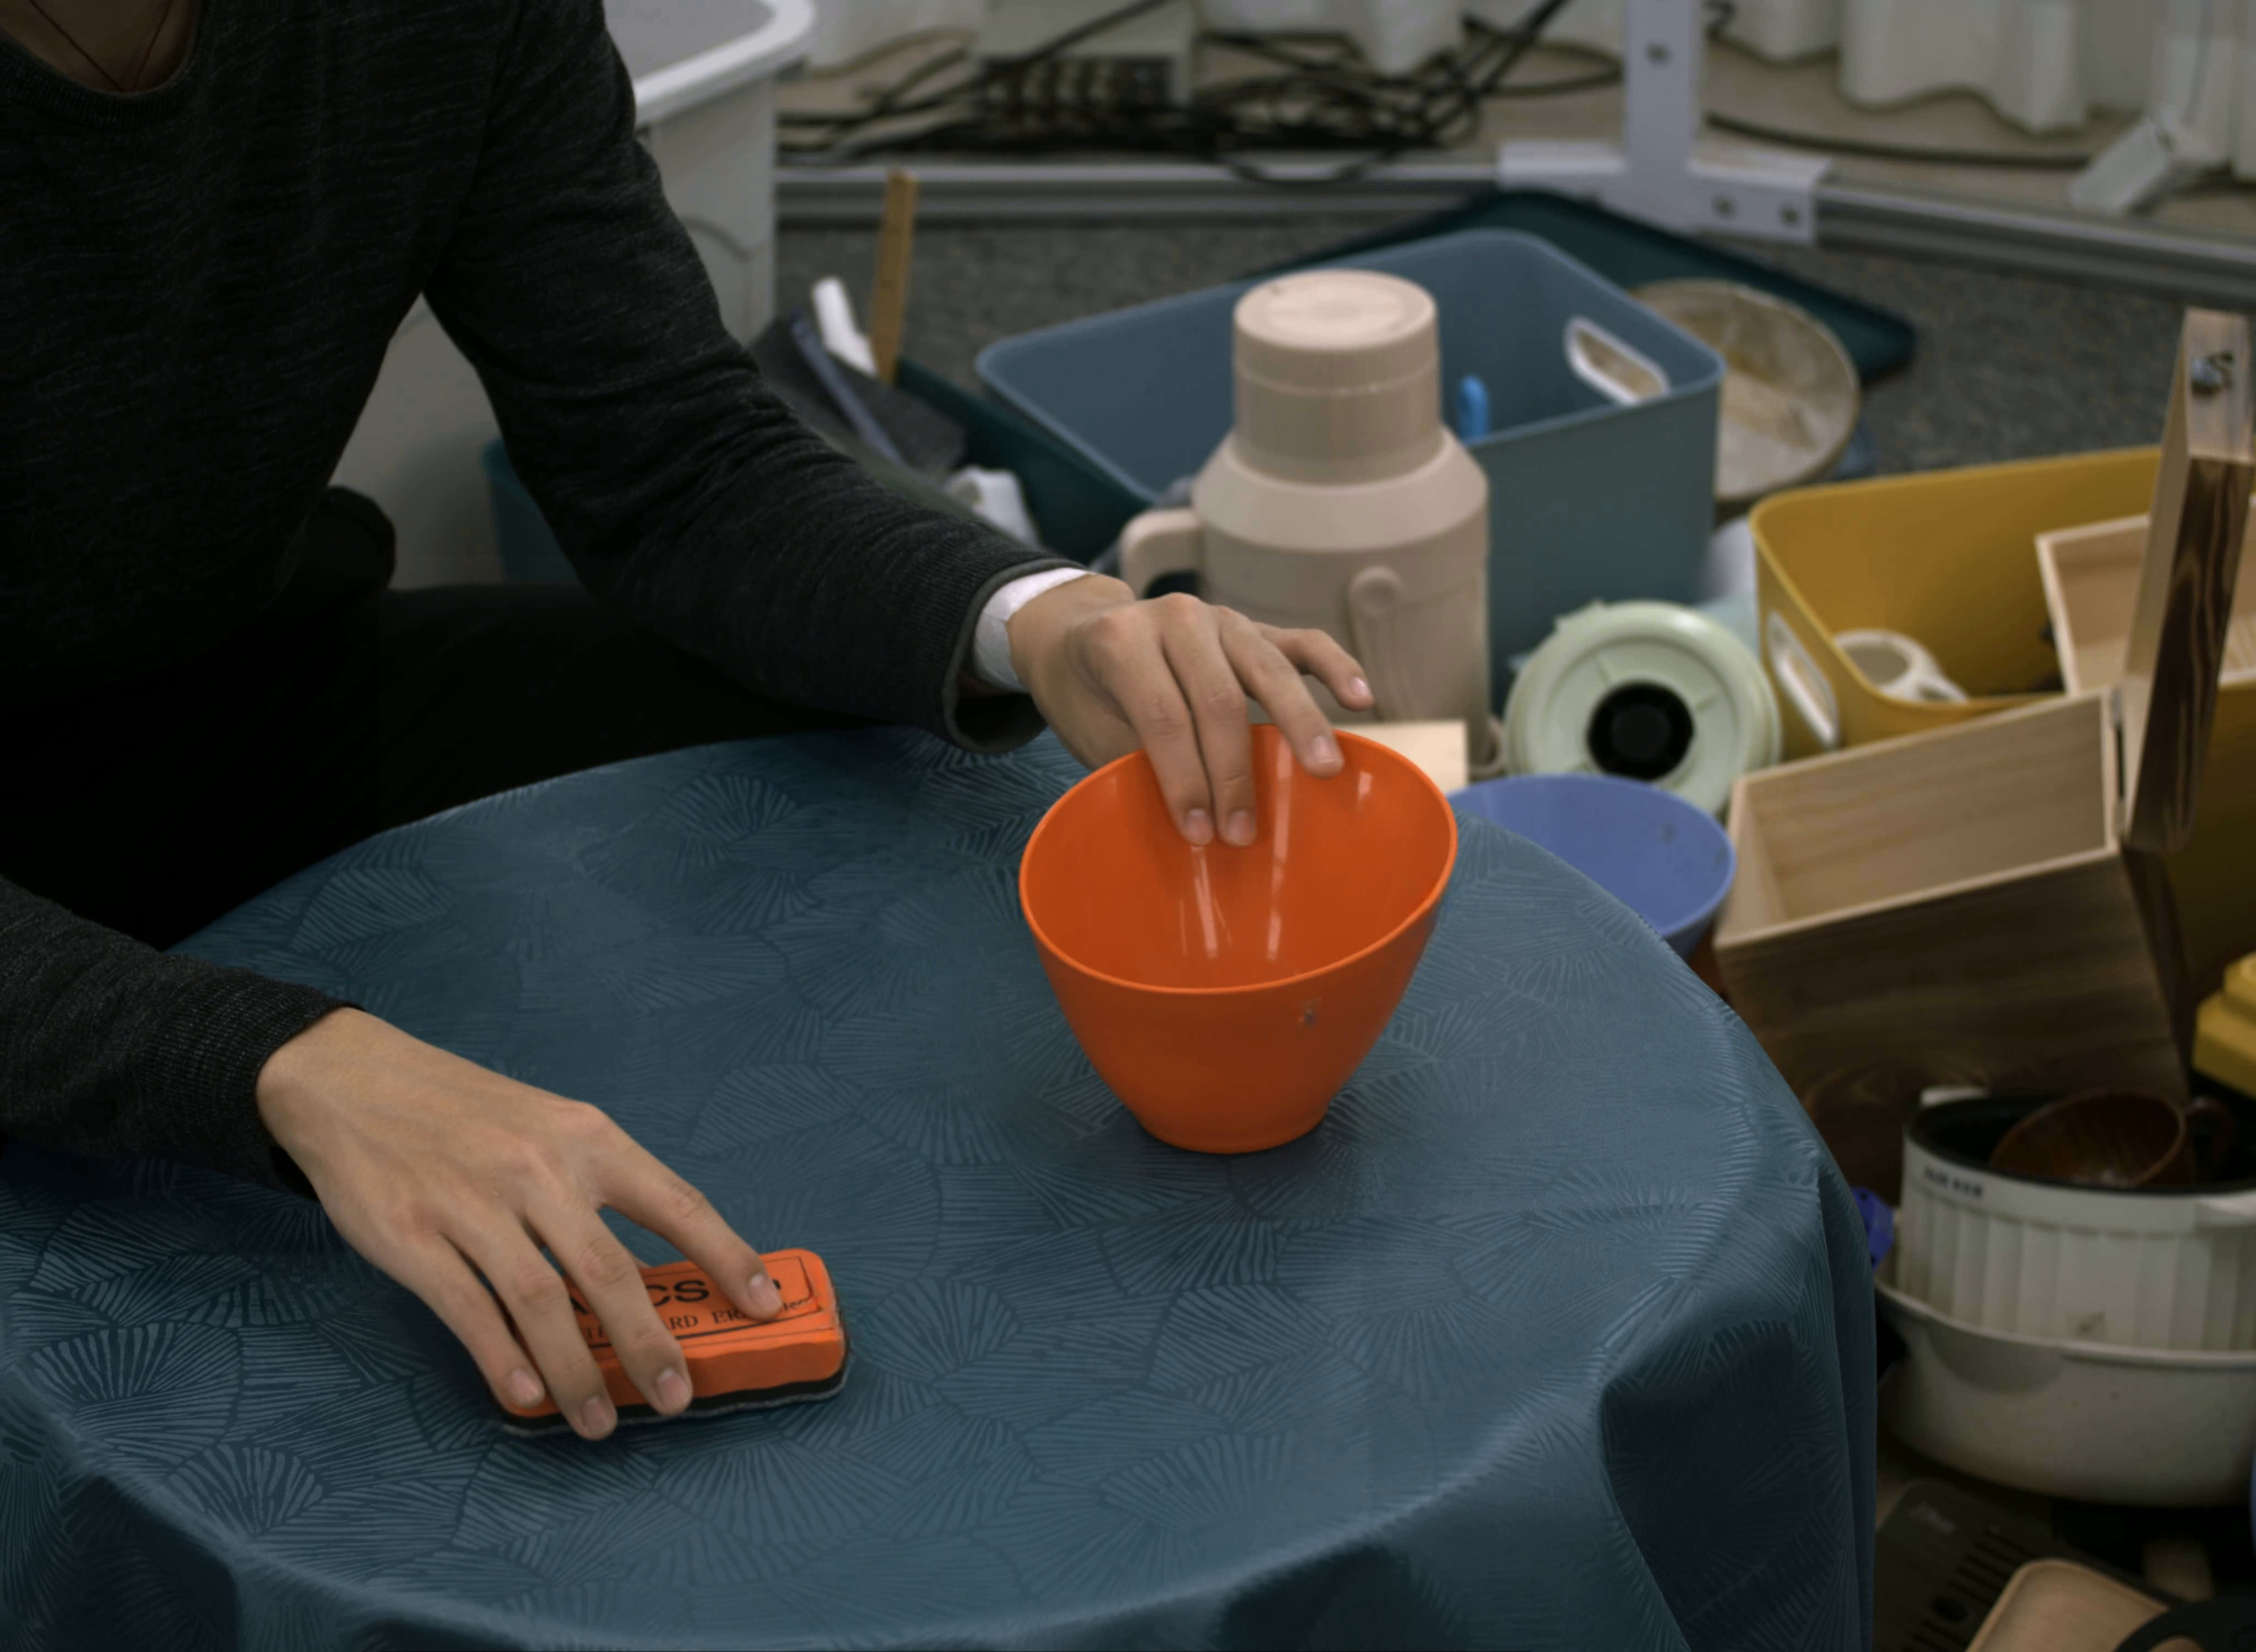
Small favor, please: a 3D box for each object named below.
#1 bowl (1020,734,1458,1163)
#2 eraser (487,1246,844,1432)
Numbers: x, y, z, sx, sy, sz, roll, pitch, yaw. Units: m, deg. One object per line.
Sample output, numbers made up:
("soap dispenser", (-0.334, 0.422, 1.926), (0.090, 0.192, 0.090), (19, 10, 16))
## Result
("bowl", (0.038, 0.048, 1.894), (0.147, 0.103, 0.150), (-2, 26, 1))
("eraser", (-0.146, 0.161, 1.764), (0.108, 0.022, 0.059), (-6, 29, -13))
